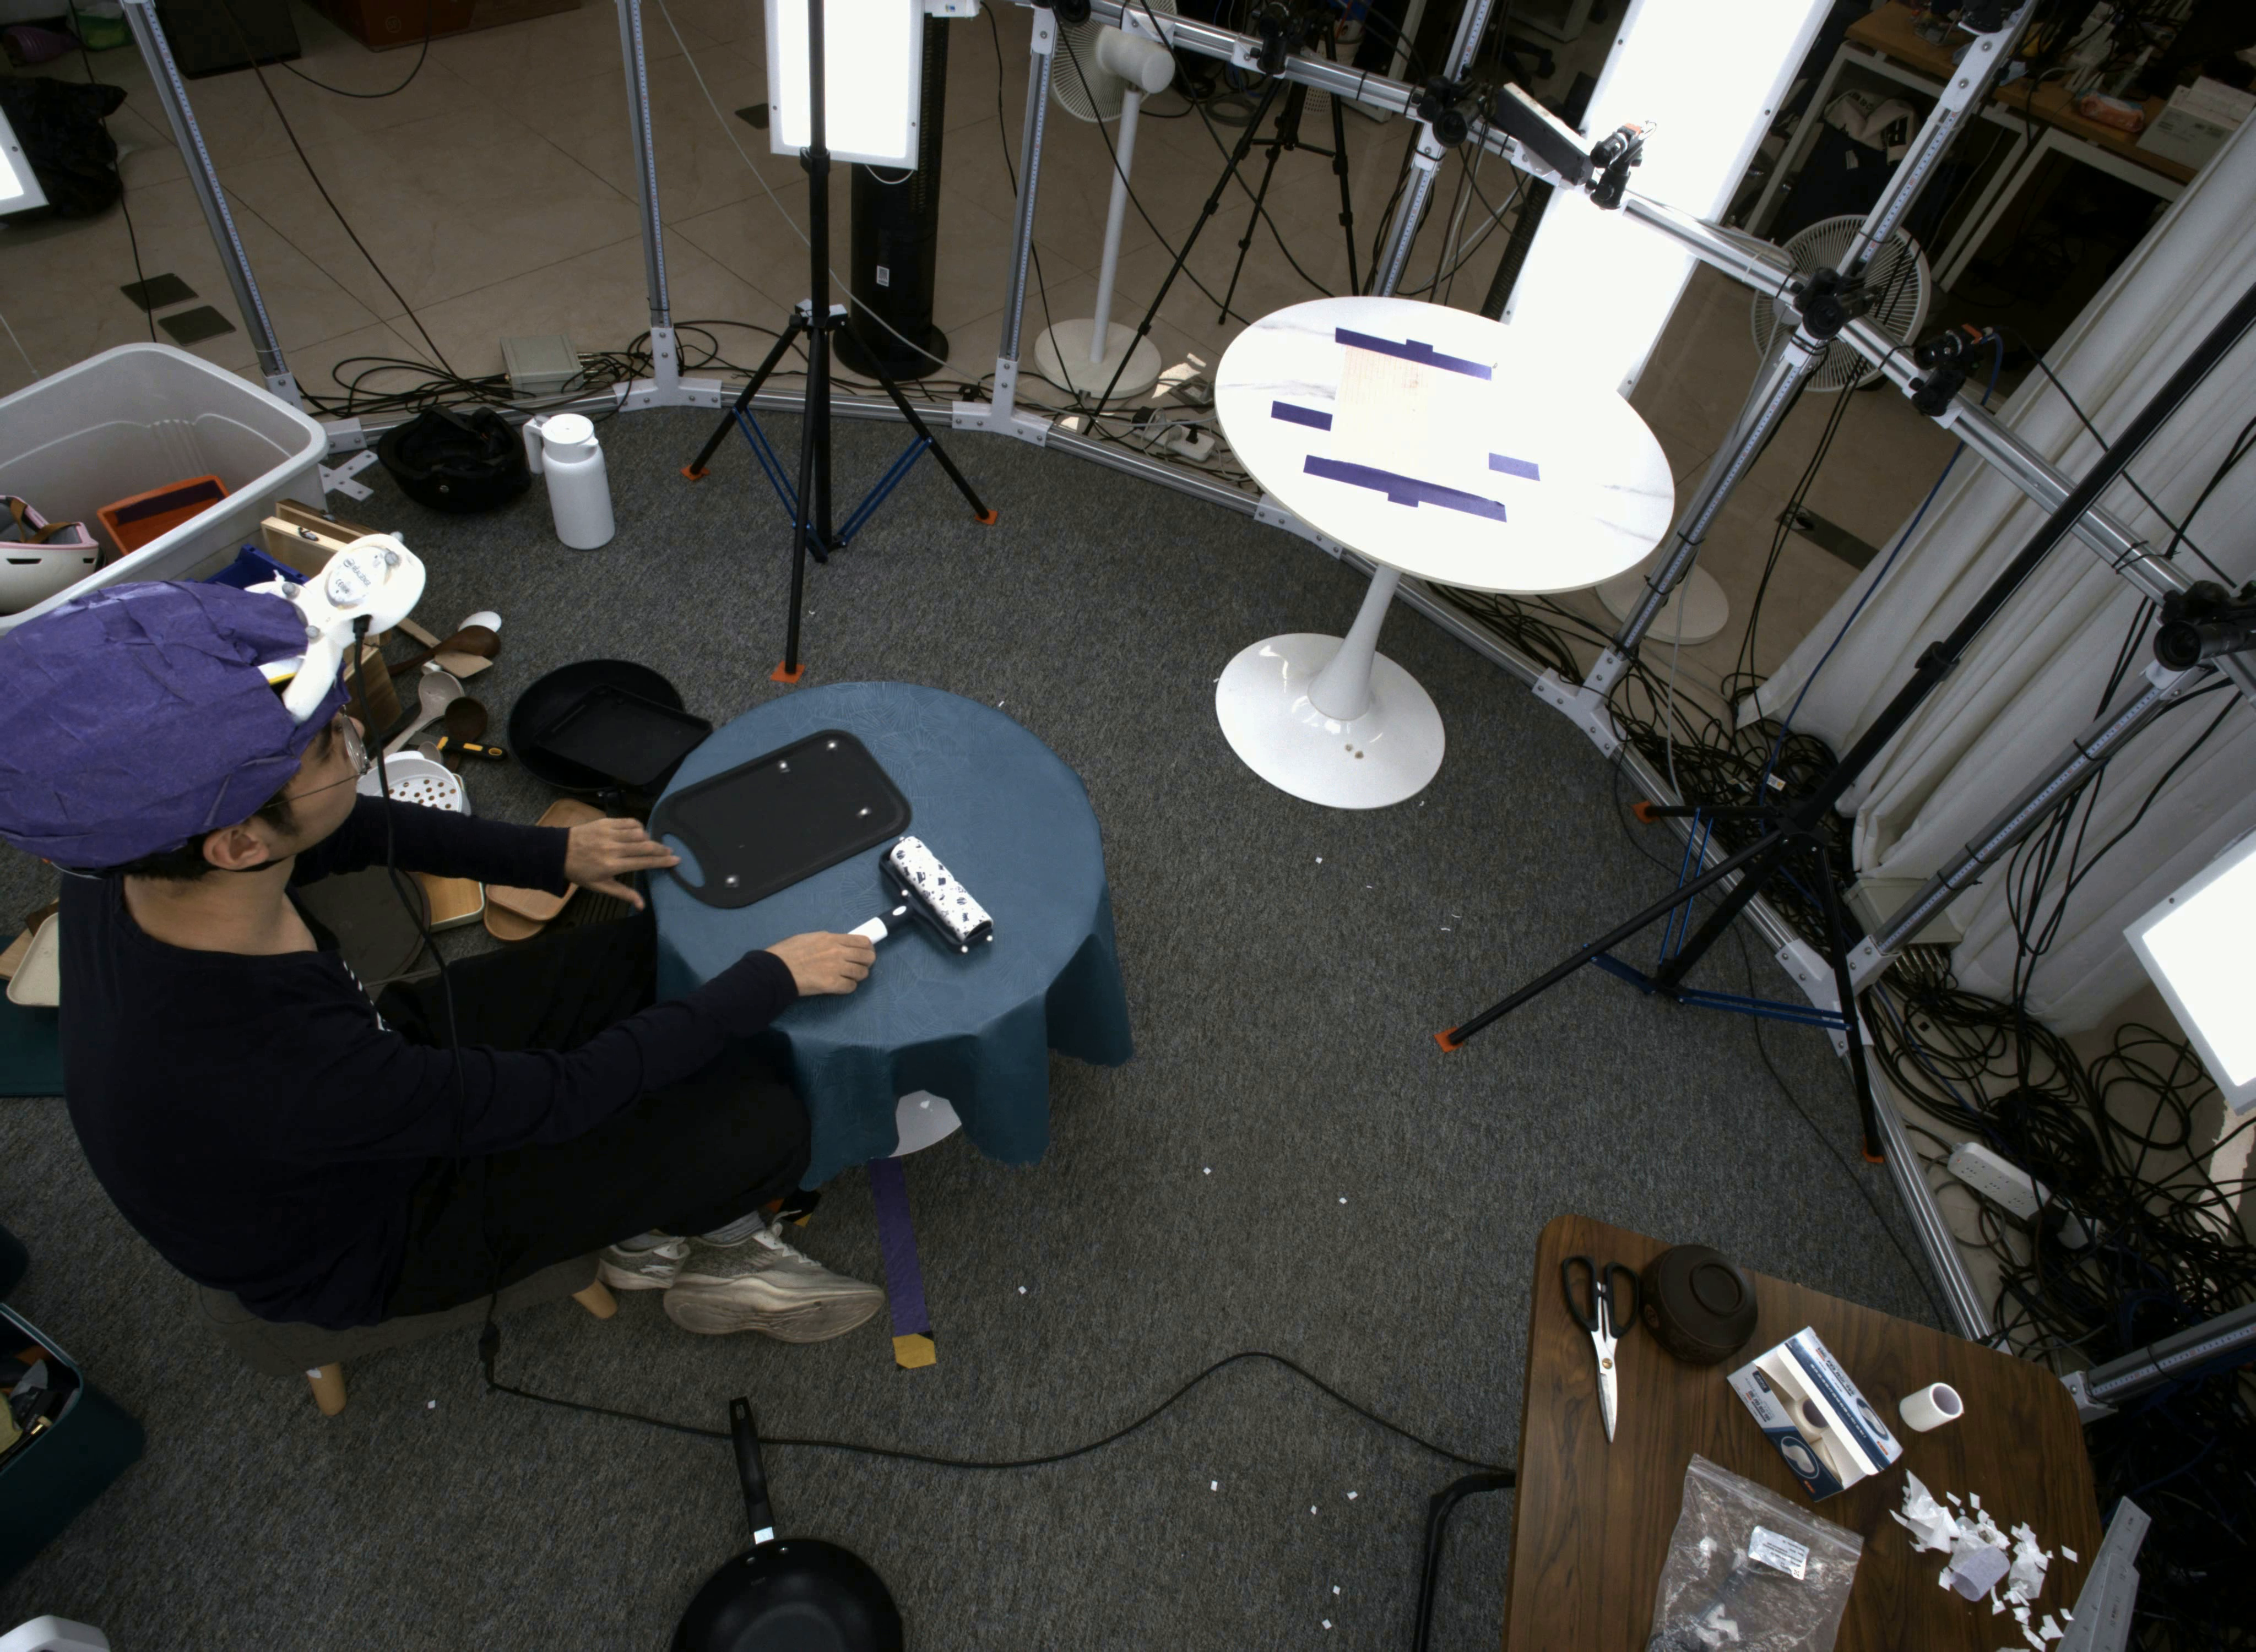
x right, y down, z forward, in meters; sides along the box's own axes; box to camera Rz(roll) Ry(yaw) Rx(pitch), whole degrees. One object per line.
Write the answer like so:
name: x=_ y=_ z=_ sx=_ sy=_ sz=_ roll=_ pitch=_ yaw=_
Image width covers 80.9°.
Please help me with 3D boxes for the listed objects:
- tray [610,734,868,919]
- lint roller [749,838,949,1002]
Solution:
tray: x=-0.520 y=-0.004 z=1.710 sx=0.326 sy=0.010 sz=0.206 roll=-30 pitch=66 yaw=-31
lint roller: x=-0.368 y=0.135 z=1.624 sx=0.247 sy=0.051 sz=0.172 roll=-37 pitch=70 yaw=-30
